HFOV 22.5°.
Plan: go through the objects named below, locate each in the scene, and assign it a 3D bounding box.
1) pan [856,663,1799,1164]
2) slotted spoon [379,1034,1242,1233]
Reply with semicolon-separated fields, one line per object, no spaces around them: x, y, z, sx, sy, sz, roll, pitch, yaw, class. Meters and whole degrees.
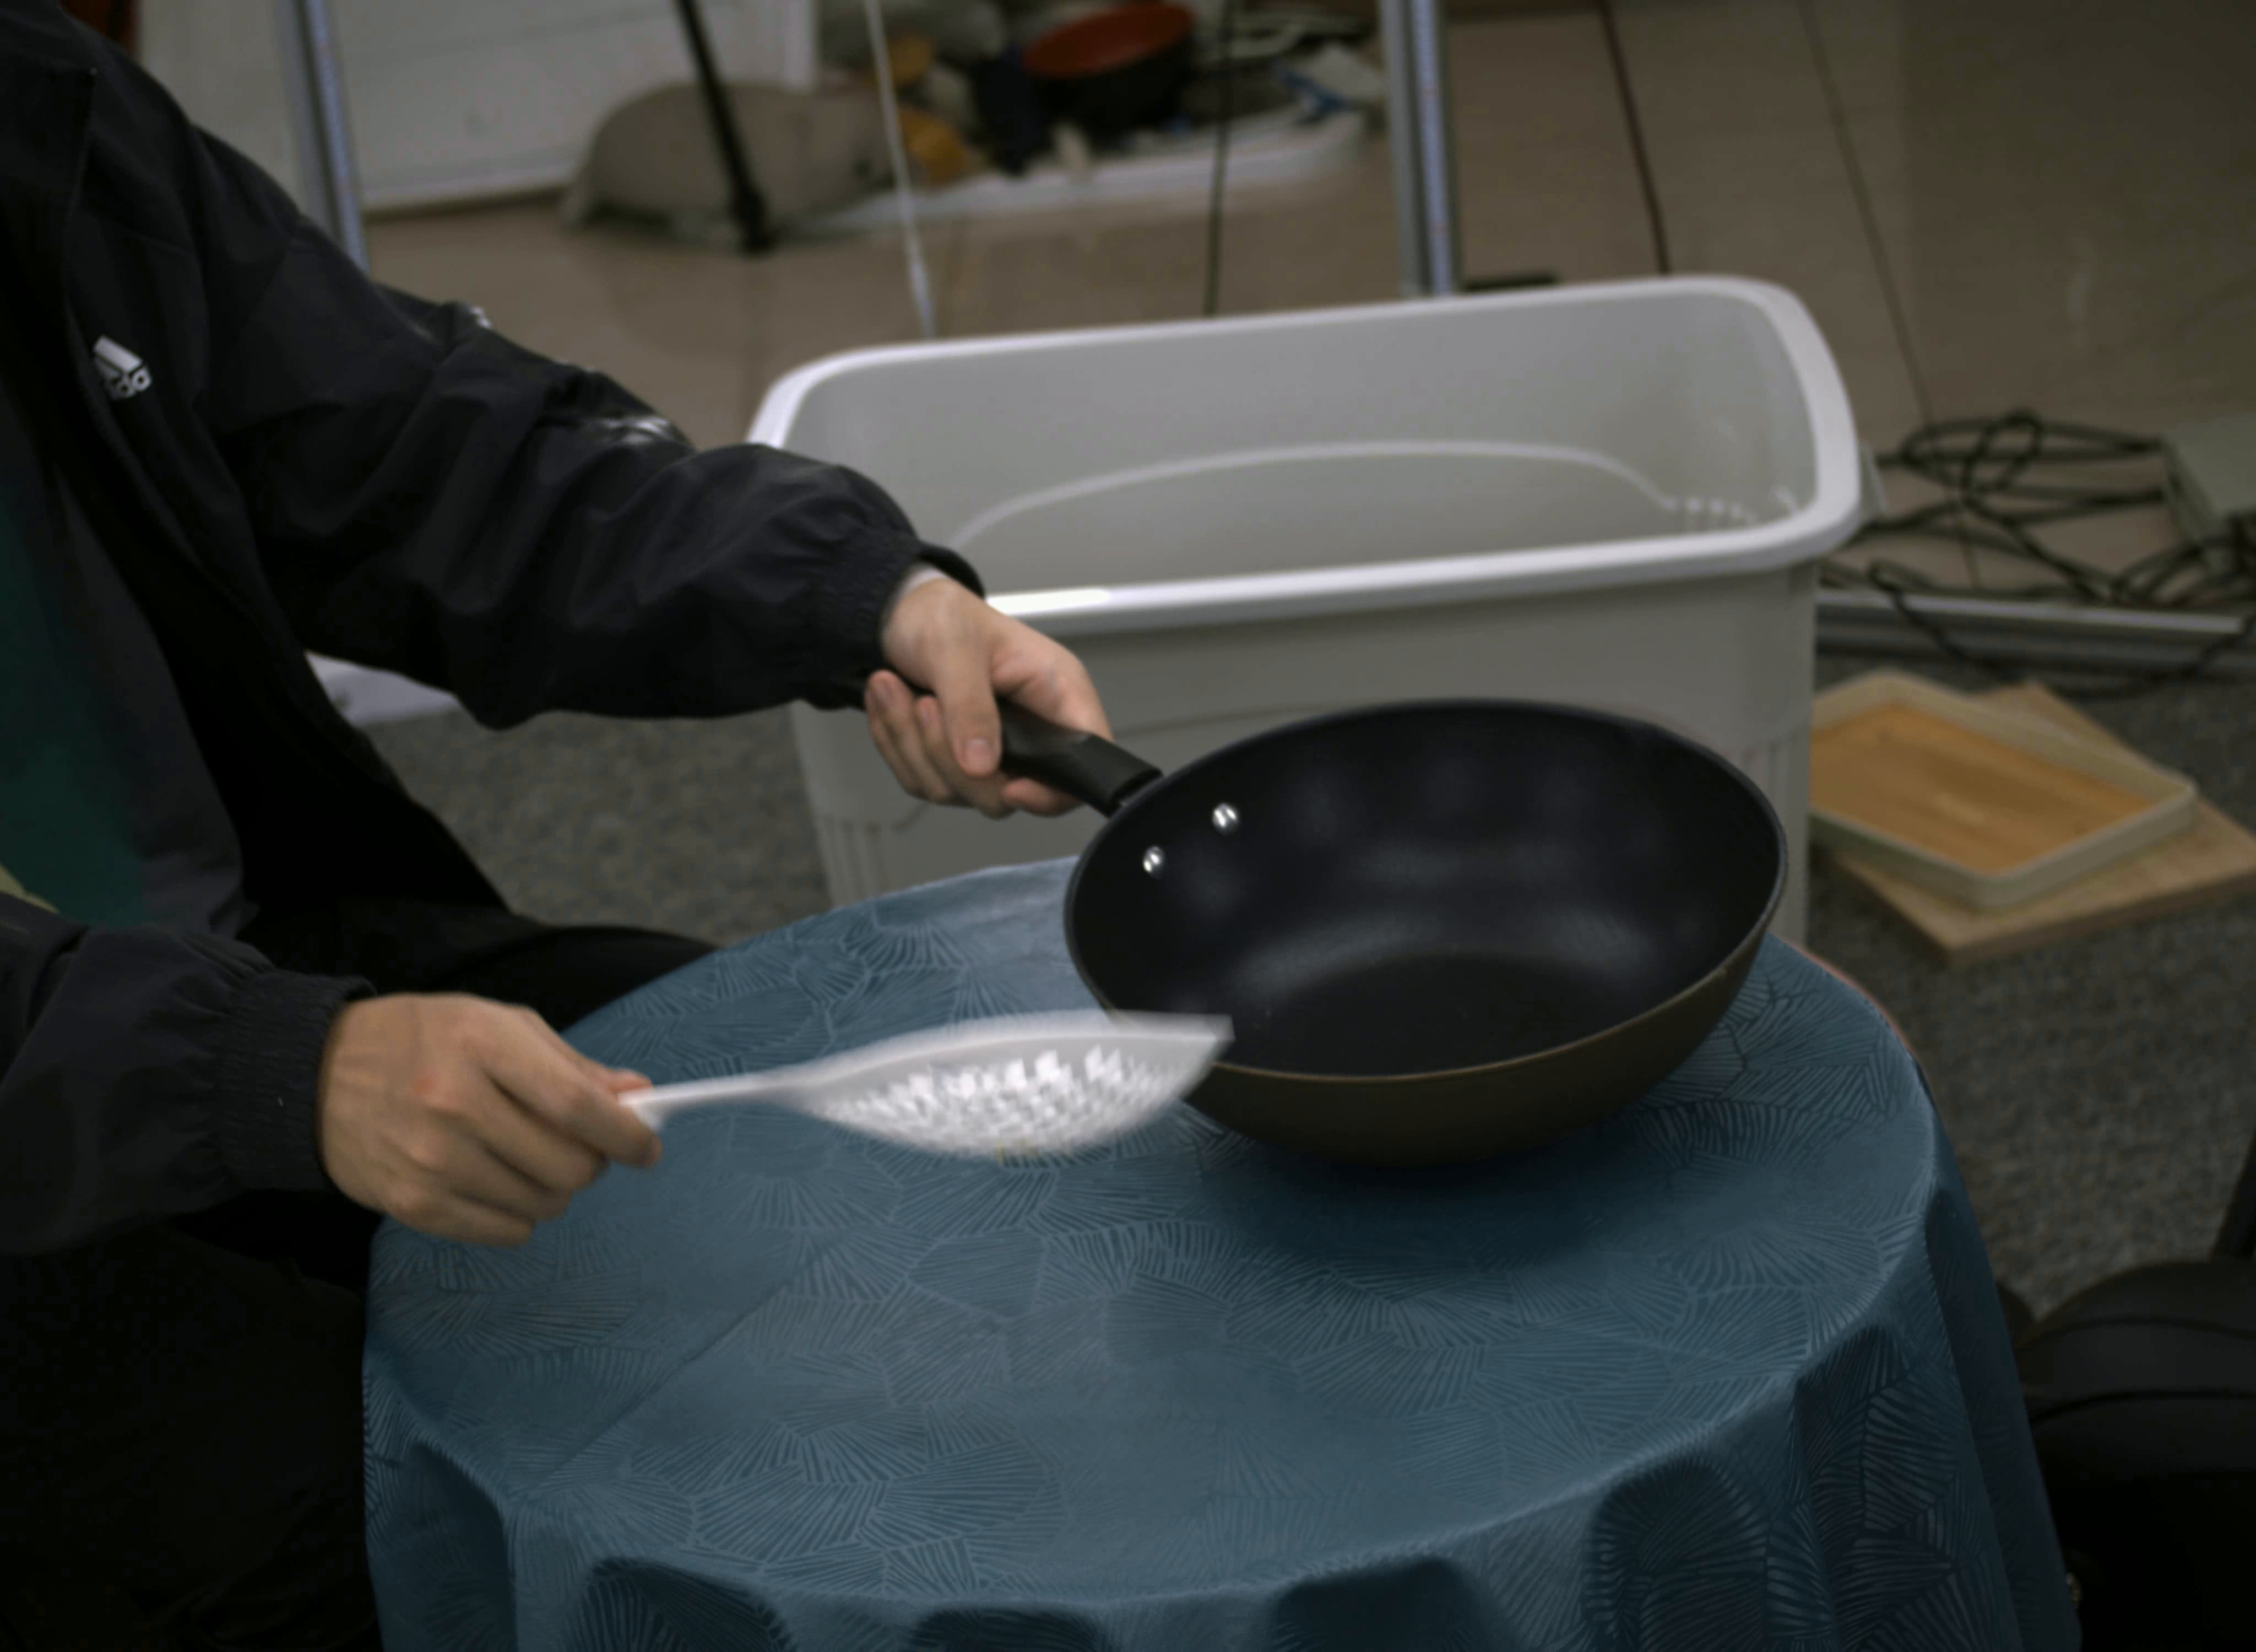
0.054;0.029;2.245;0.459;0.088;0.285;20;38;40;pan
-0.121;0.110;2.001;0.348;0.050;0.137;-6;-3;31;slotted spoon
